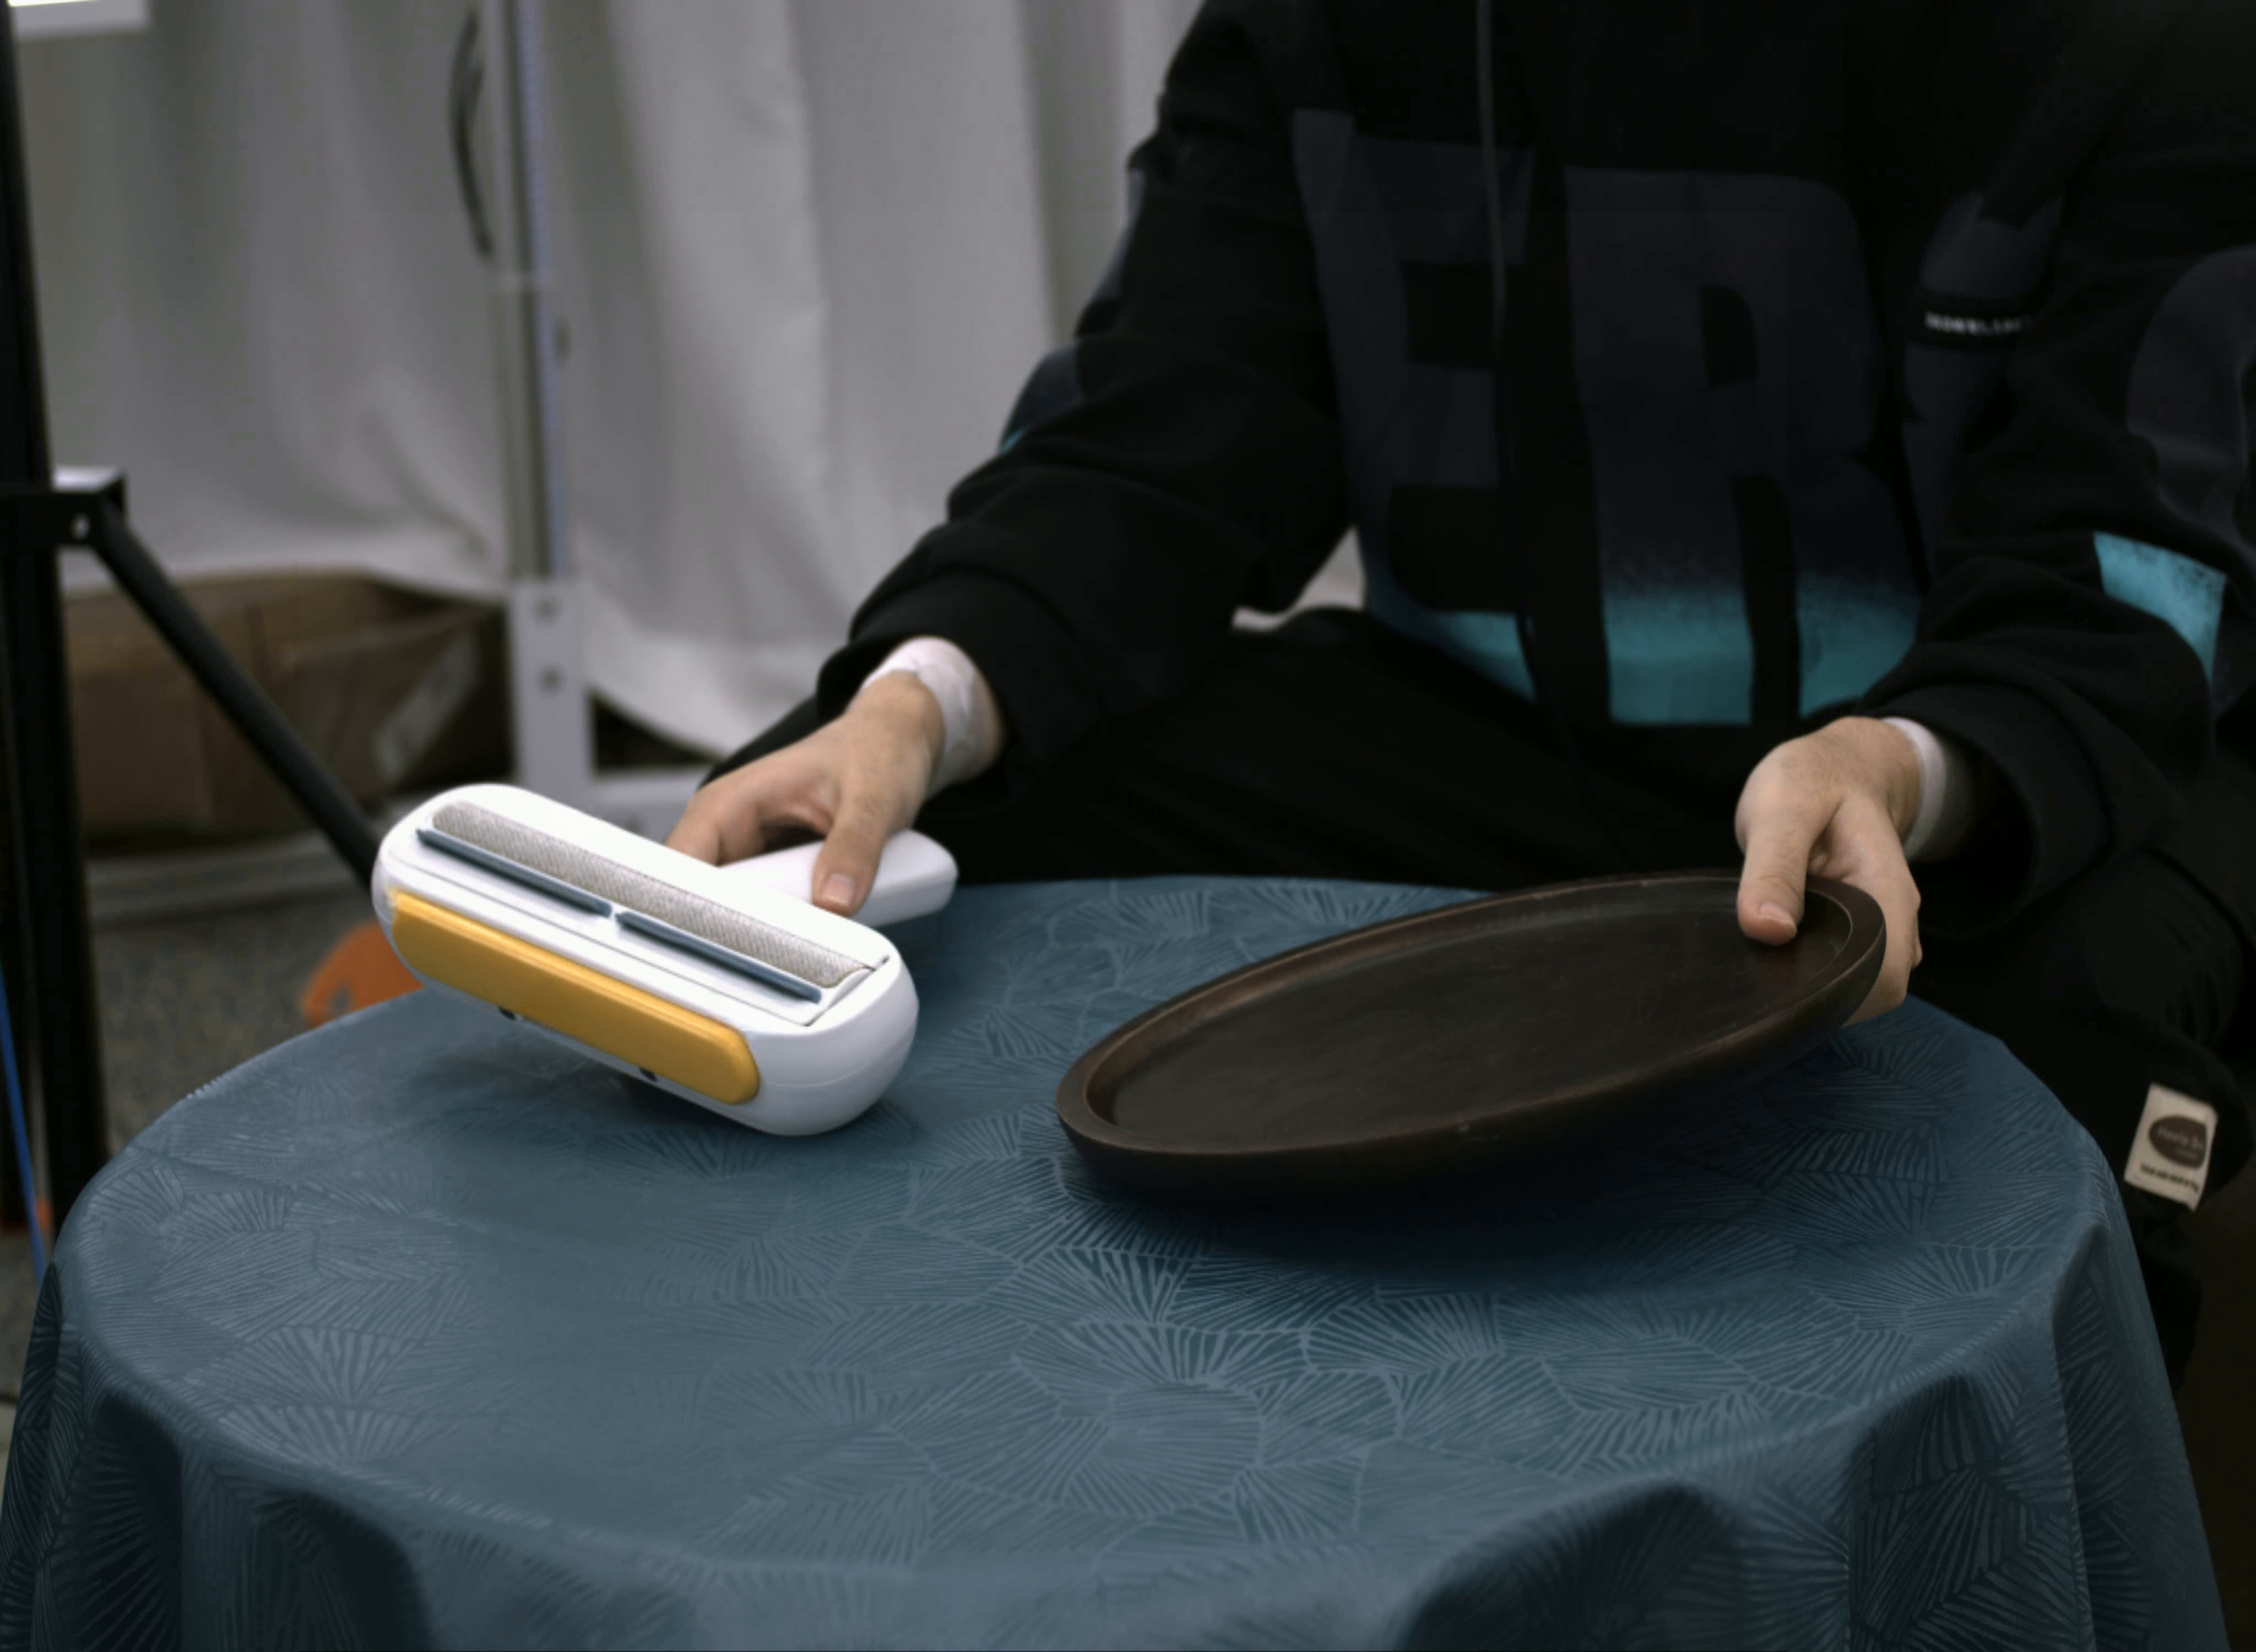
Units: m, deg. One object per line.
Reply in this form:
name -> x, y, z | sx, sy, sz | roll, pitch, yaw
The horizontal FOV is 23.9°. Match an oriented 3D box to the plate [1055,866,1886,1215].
plate -> 0.102, 0.063, 1.576 | 0.254, 0.029, 0.256 | -14, 11, 1

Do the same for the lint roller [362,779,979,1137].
lint roller -> -0.120, 0.027, 1.711 | 0.197, 0.074, 0.189 | 18, 32, 37
